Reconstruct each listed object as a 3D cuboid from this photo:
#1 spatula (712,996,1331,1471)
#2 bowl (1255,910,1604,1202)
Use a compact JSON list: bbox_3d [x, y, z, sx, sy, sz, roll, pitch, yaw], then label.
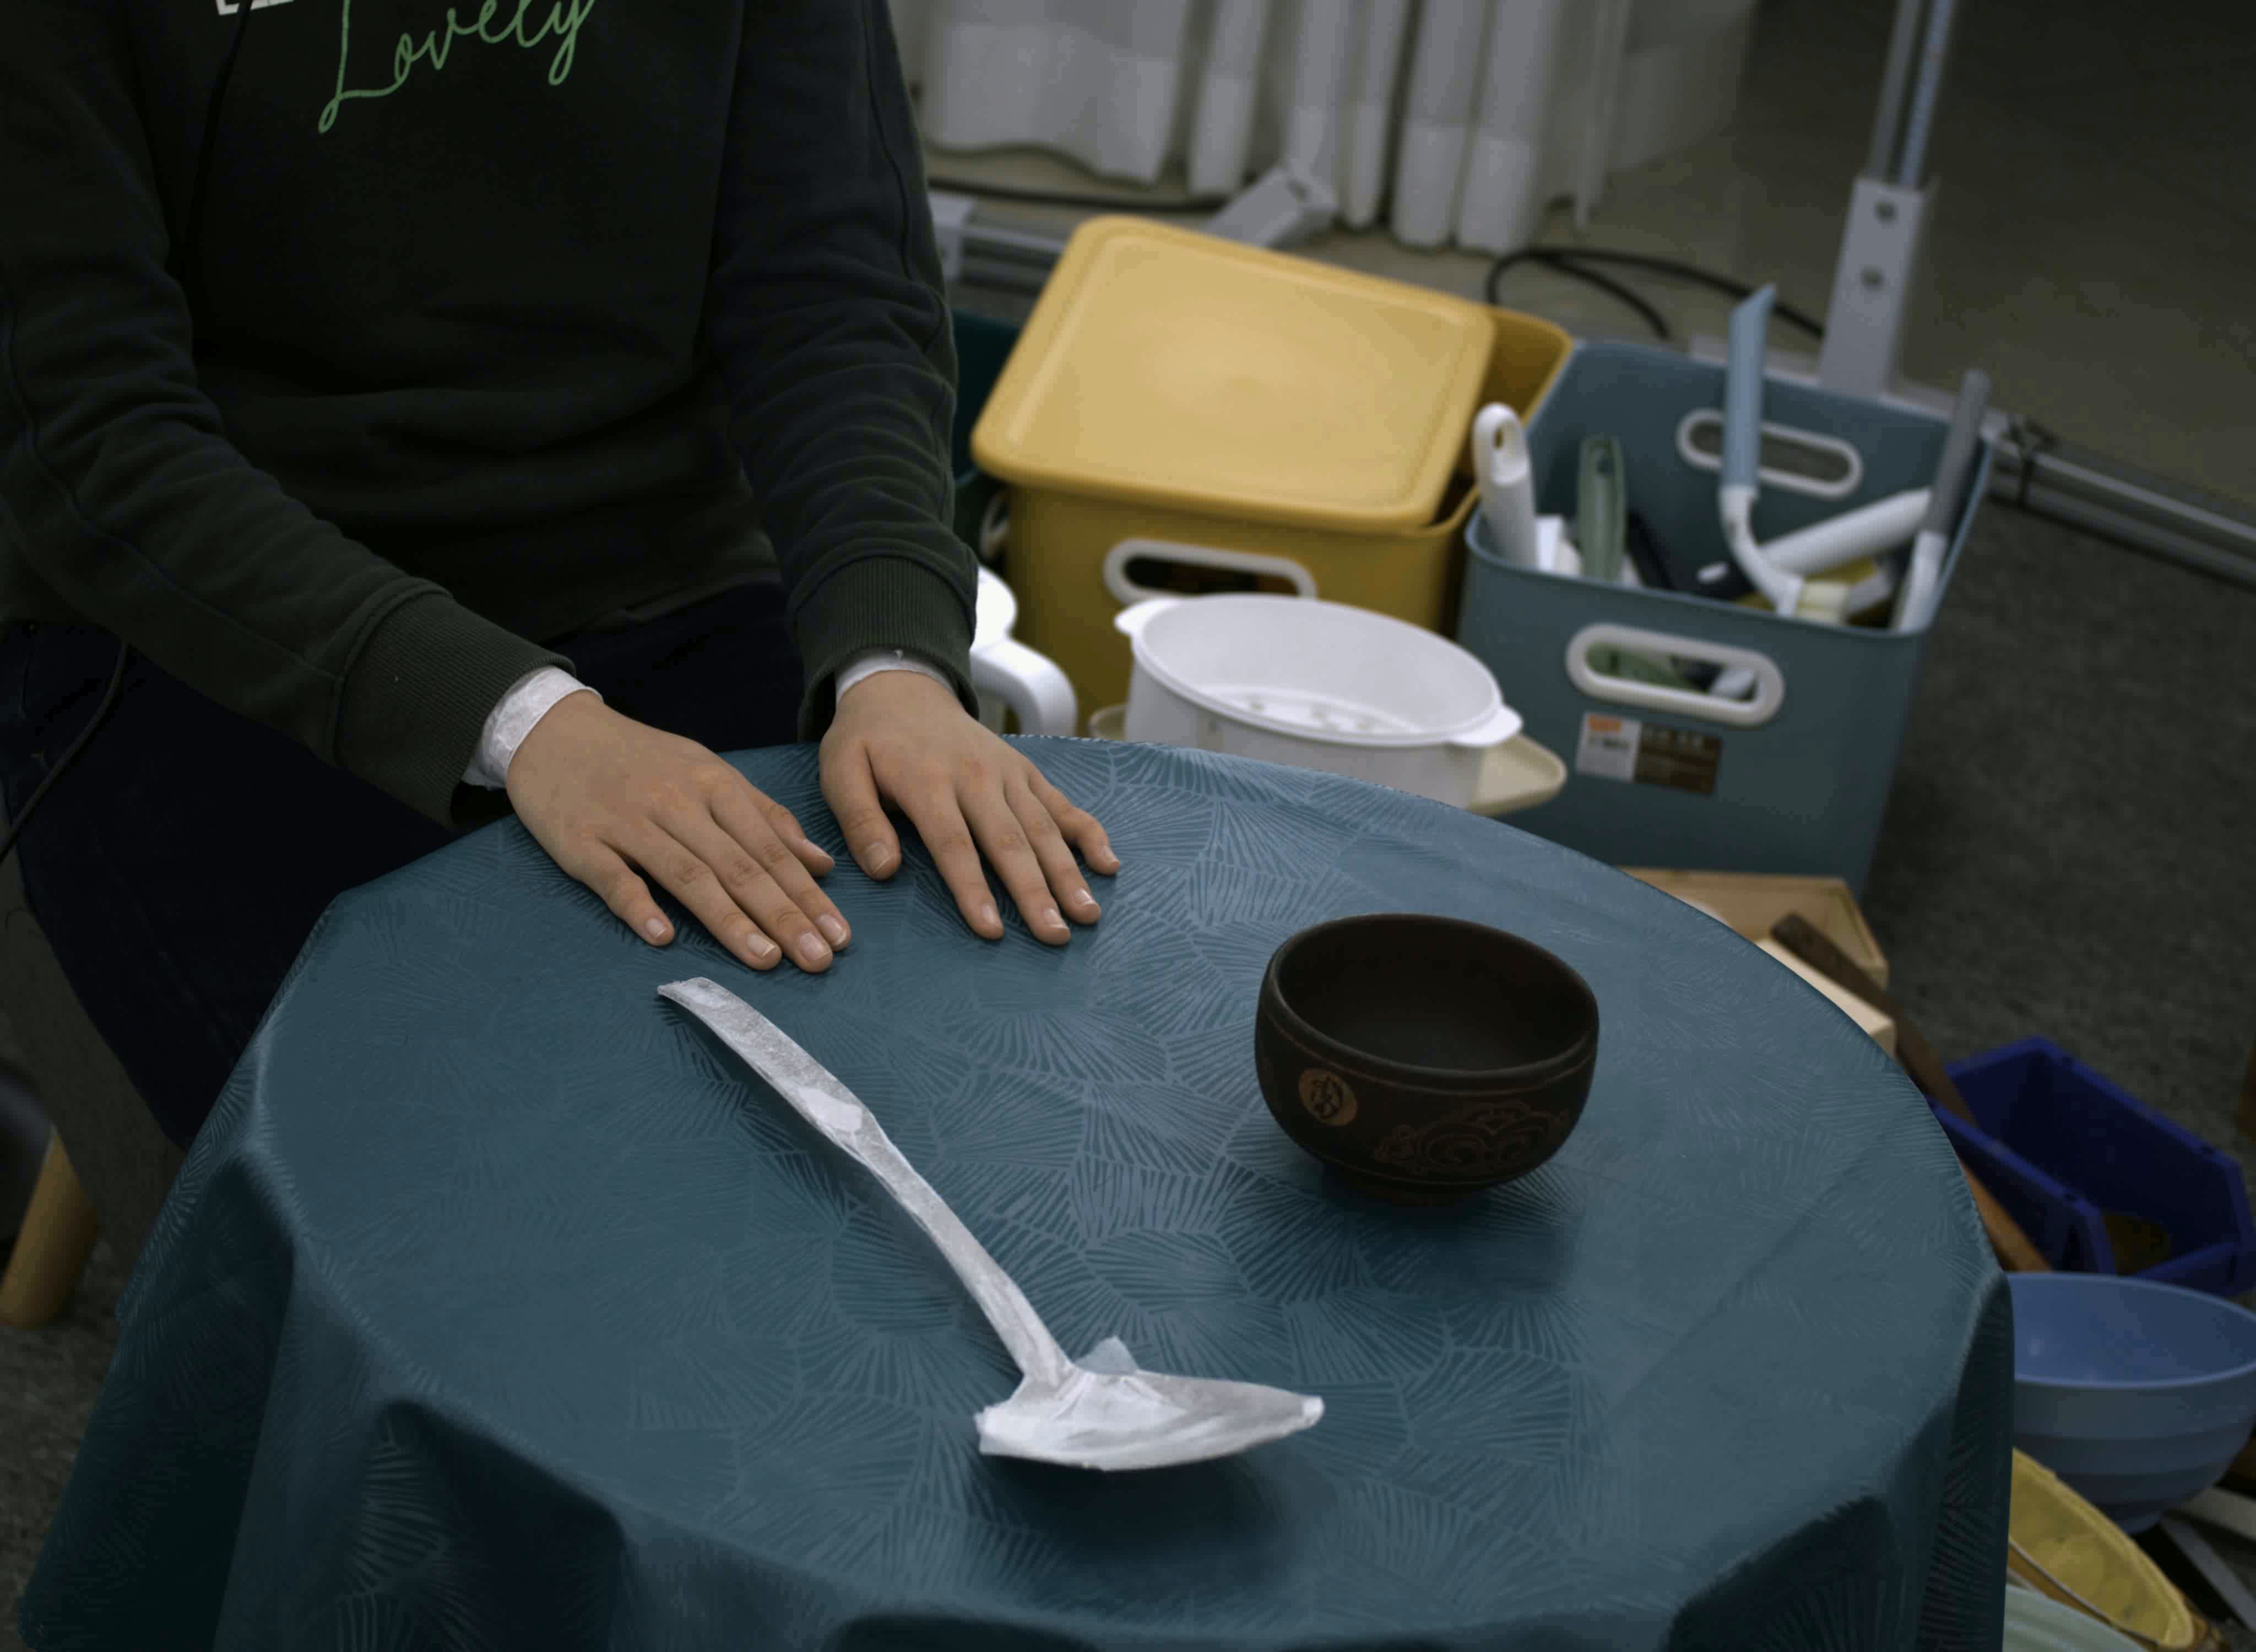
[{"bbox_3d":[-0.059,0.125,1.742,0.098,0.044,0.368,-11,31,-27],"label":"spatula"},{"bbox_3d":[0.100,0.085,1.820,0.117,0.069,0.119,6,25,-3],"label":"bowl"}]
